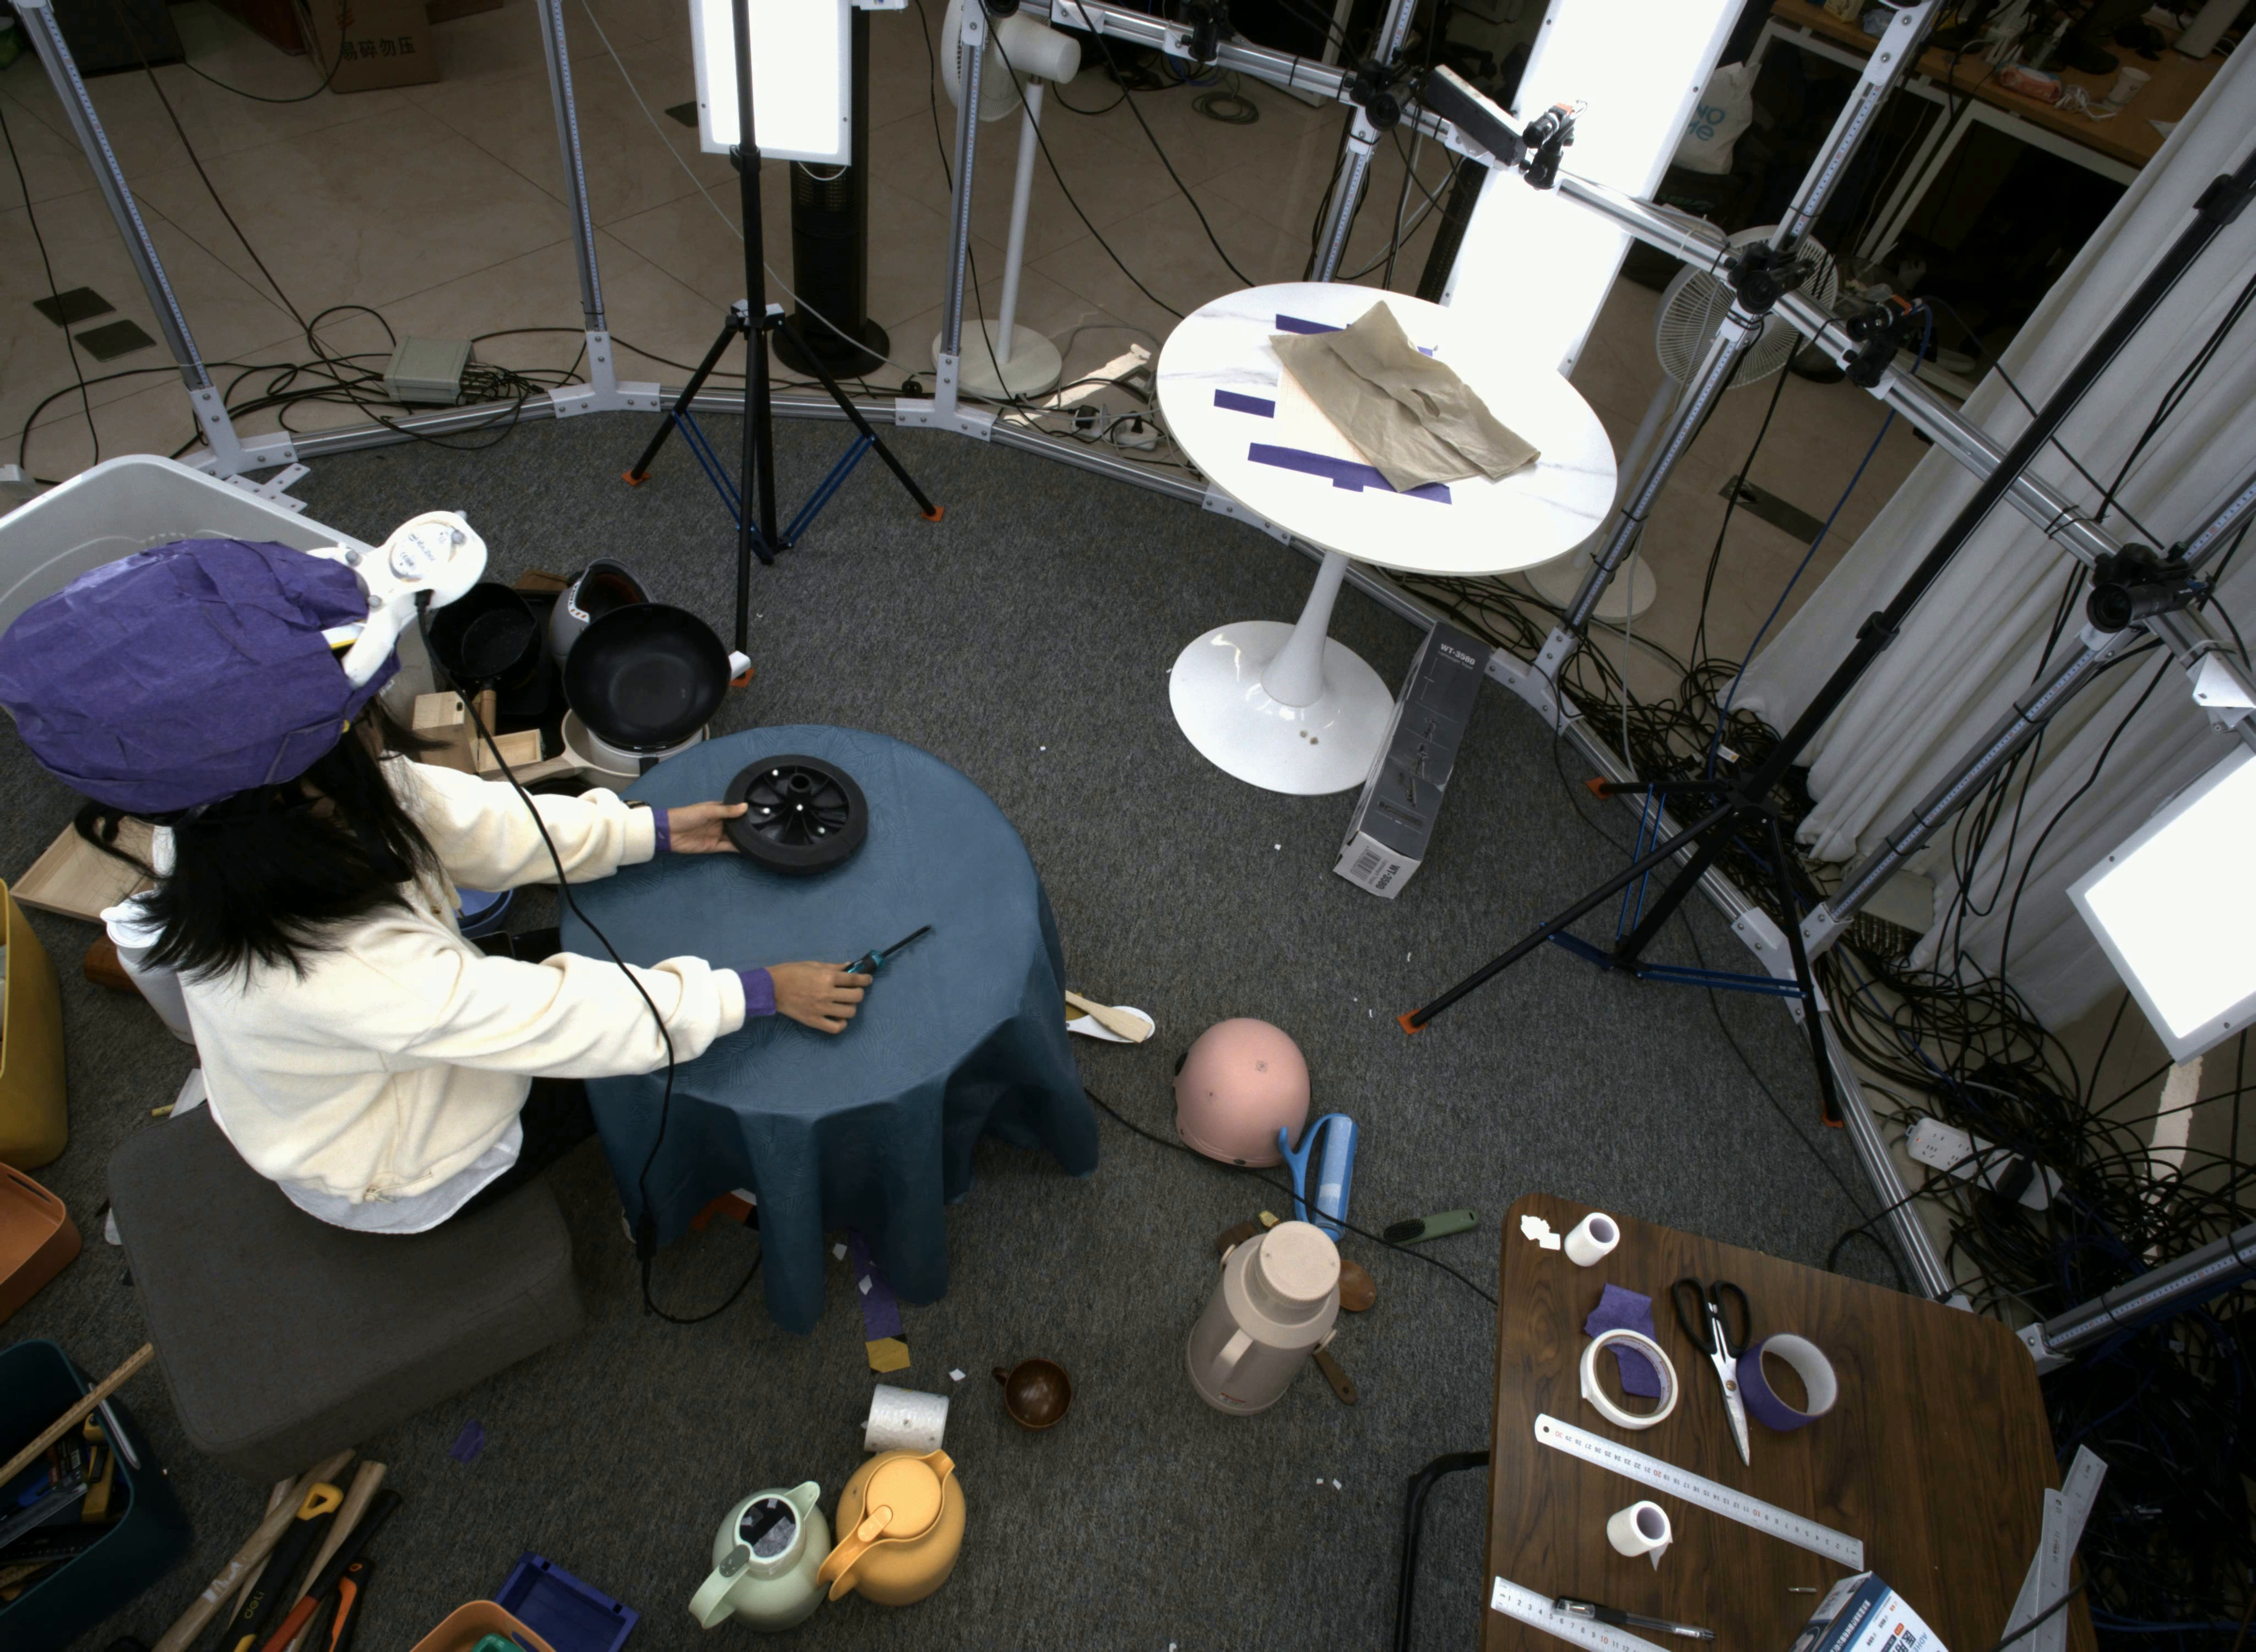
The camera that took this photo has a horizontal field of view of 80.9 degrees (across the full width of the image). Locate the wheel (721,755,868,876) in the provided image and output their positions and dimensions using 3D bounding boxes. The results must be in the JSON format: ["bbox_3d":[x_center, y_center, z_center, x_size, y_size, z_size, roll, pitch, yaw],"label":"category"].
[{"bbox_3d":[-0.431,-0.030,1.686,0.192,0.080,0.183,-8,57,-31],"label":"wheel"}]

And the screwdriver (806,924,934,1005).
[{"bbox_3d":[-0.314,0.164,1.608,0.033,0.034,0.191,43,48,20],"label":"screwdriver"}]
